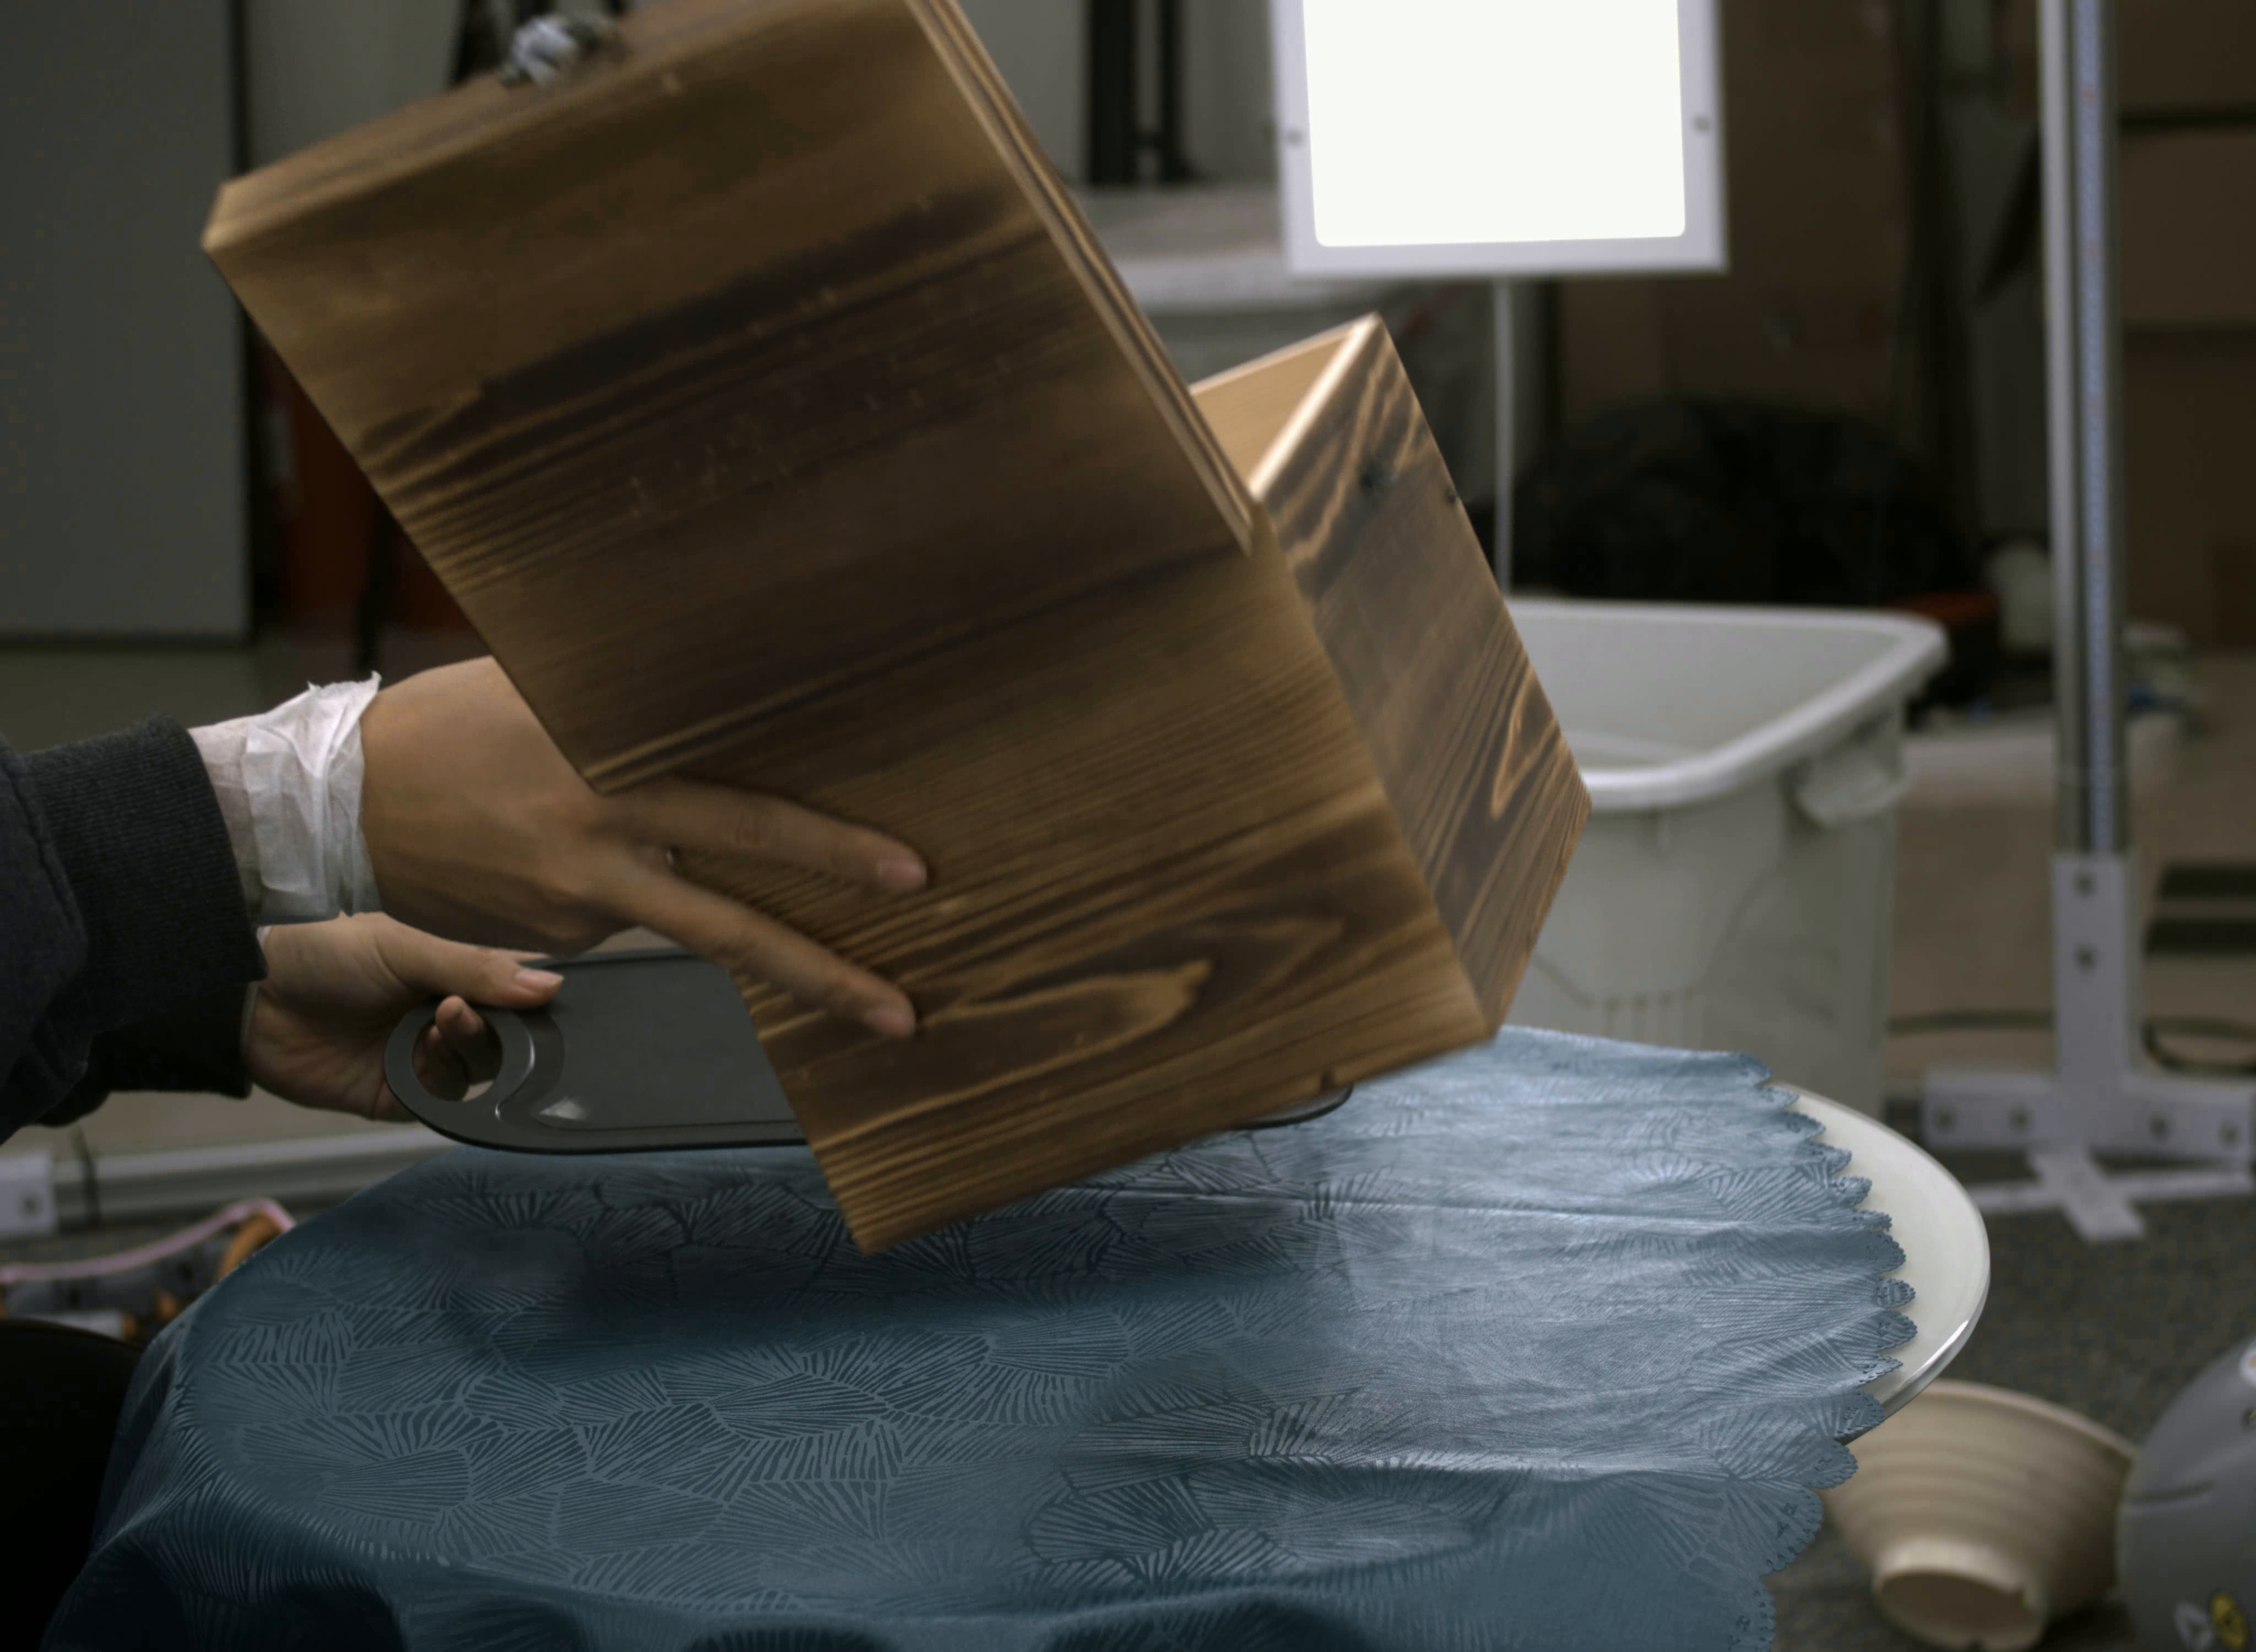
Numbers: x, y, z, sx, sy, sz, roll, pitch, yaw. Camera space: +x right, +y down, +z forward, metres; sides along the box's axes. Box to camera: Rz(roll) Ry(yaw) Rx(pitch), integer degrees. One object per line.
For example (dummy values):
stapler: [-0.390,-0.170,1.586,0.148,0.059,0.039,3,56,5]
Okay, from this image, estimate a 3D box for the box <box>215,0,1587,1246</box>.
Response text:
box: [-0.049,-0.088,1.548,0.211,0.375,0.318,-21,13,19]

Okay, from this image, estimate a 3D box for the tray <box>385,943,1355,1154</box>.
tray: [-0.091,0.071,1.888,0.323,0.010,0.211,-2,17,-5]
